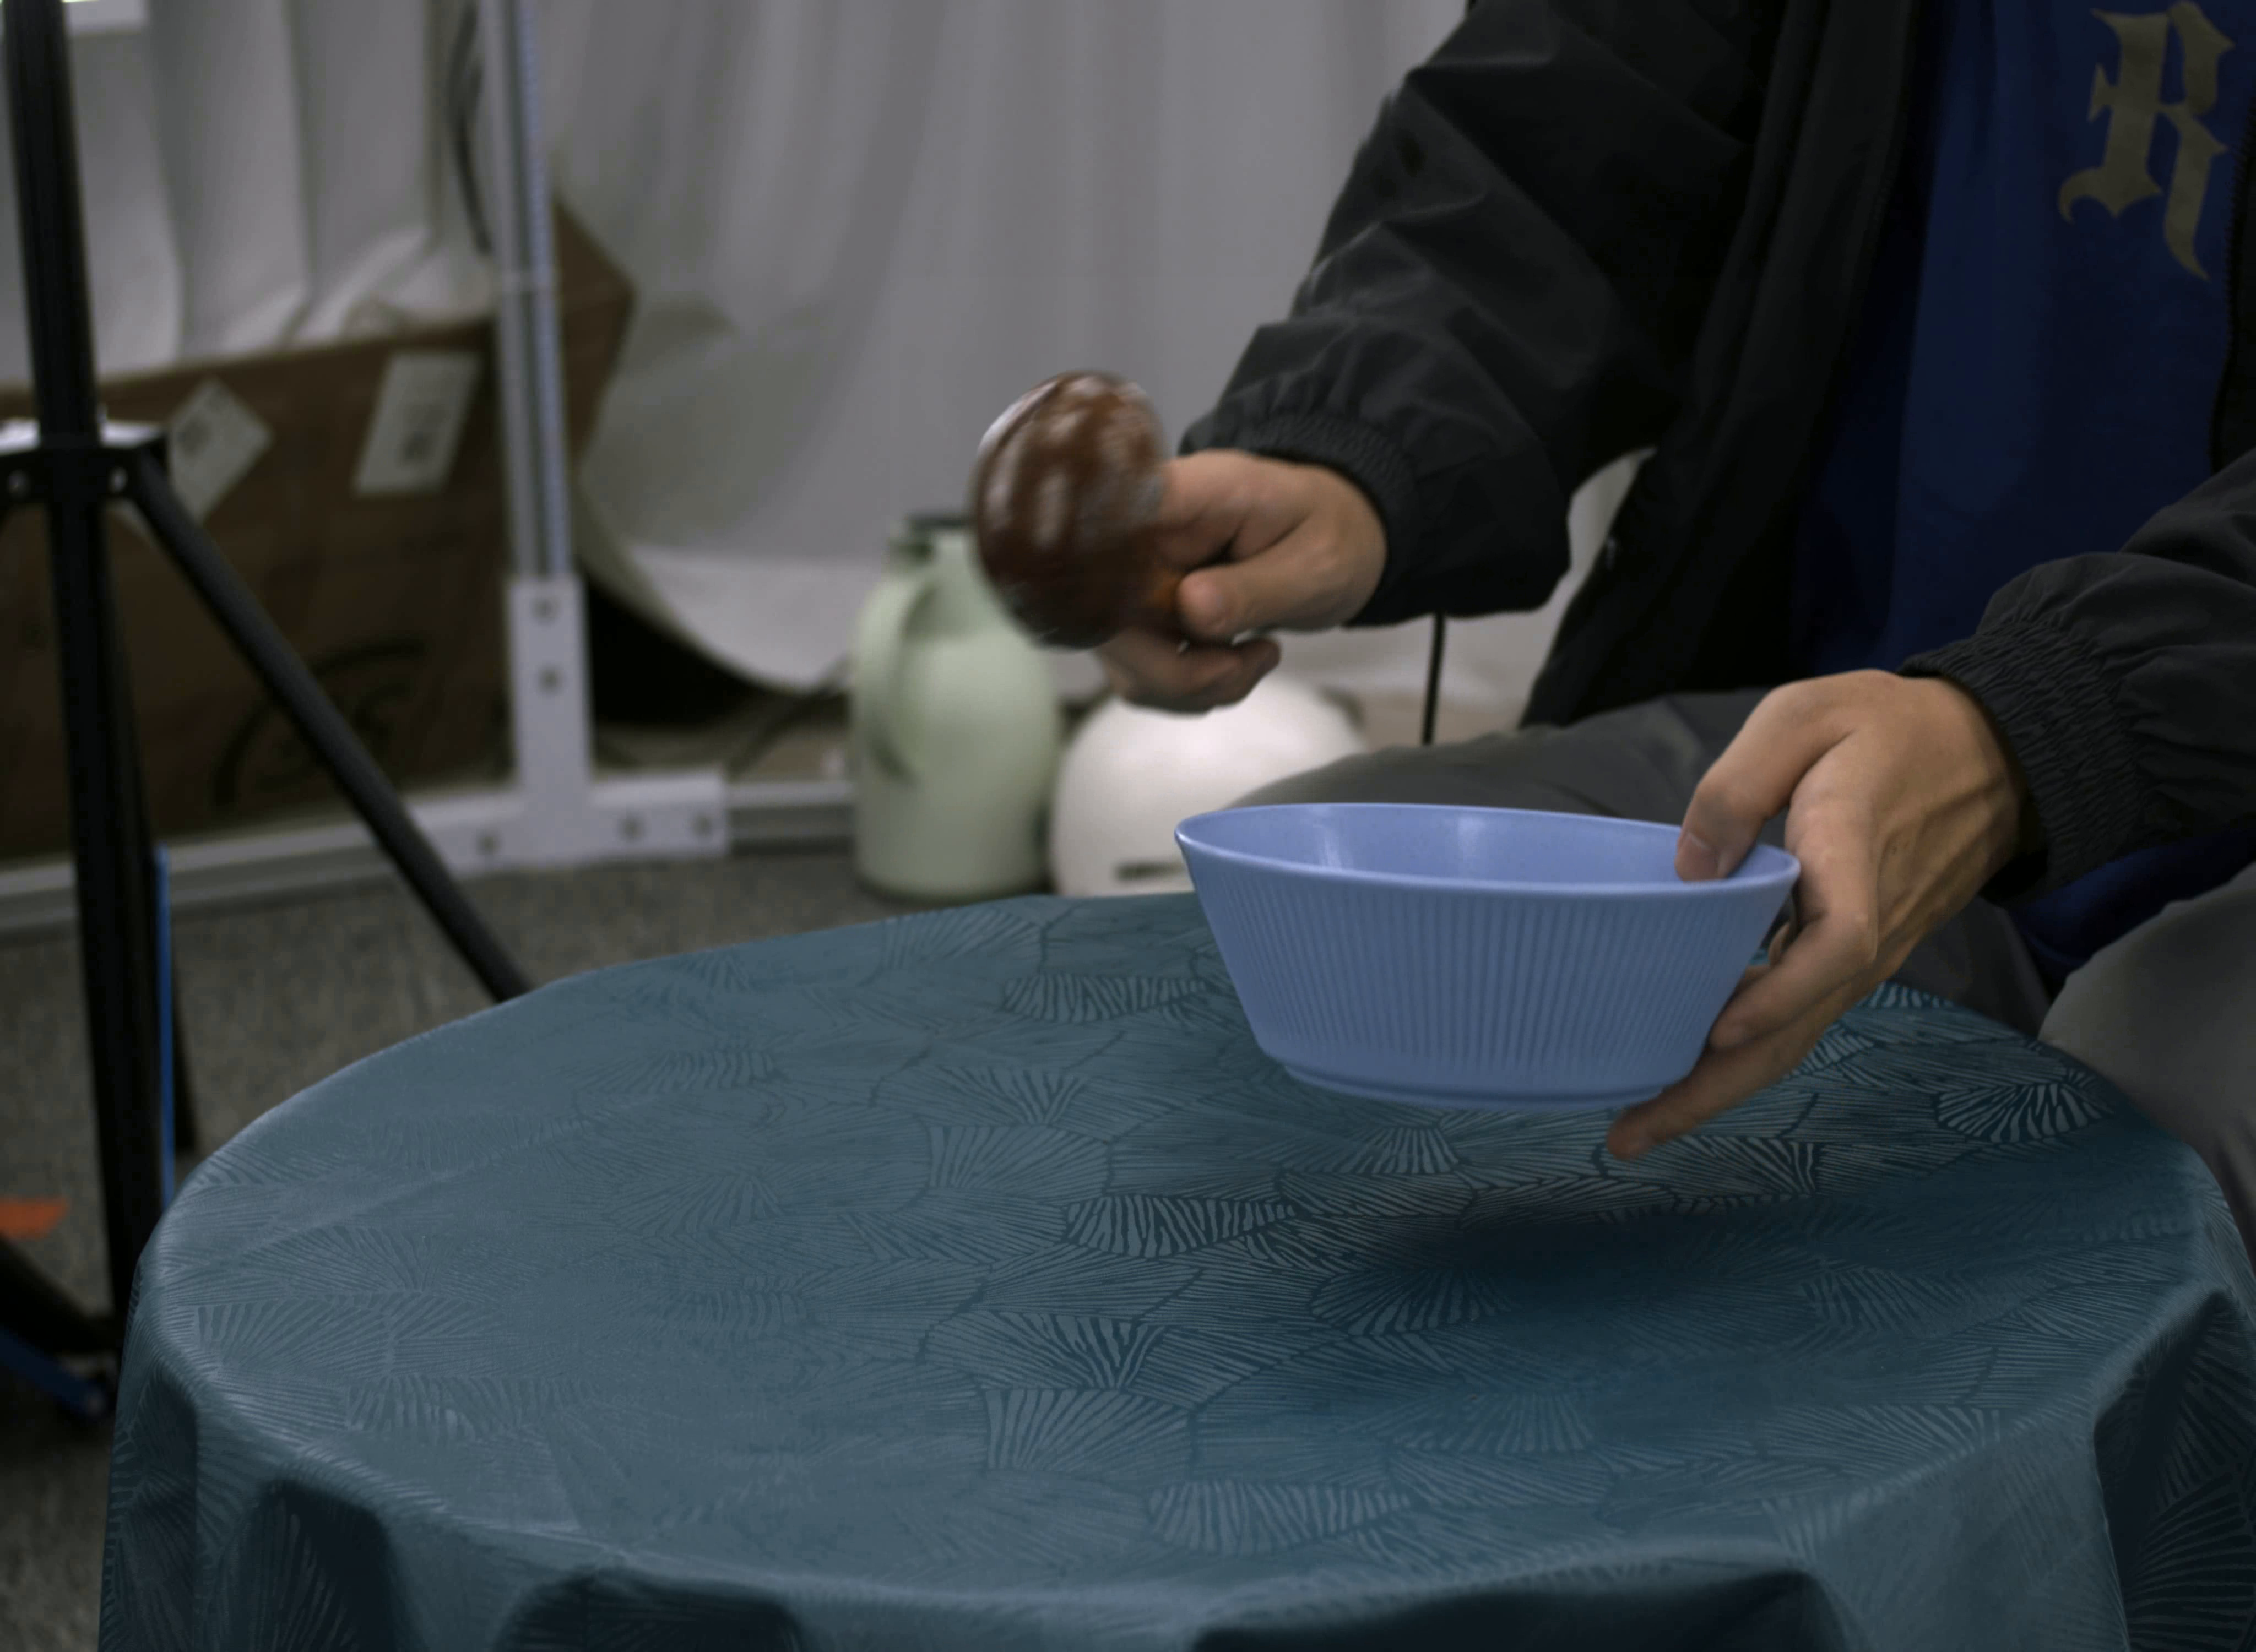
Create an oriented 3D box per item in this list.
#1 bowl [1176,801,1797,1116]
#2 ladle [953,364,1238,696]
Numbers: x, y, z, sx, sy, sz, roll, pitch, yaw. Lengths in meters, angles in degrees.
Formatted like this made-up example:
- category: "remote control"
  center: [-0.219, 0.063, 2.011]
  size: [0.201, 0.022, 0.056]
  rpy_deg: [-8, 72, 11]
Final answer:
- category: "bowl"
  center: [0.098, 0.038, 1.491]
  size: [0.175, 0.070, 0.176]
  rpy_deg: [4, 7, -2]
- category: "ladle"
  center: [0.014, -0.076, 1.619]
  size: [0.077, 0.082, 0.269]
  rpy_deg: [4, -7, 22]
